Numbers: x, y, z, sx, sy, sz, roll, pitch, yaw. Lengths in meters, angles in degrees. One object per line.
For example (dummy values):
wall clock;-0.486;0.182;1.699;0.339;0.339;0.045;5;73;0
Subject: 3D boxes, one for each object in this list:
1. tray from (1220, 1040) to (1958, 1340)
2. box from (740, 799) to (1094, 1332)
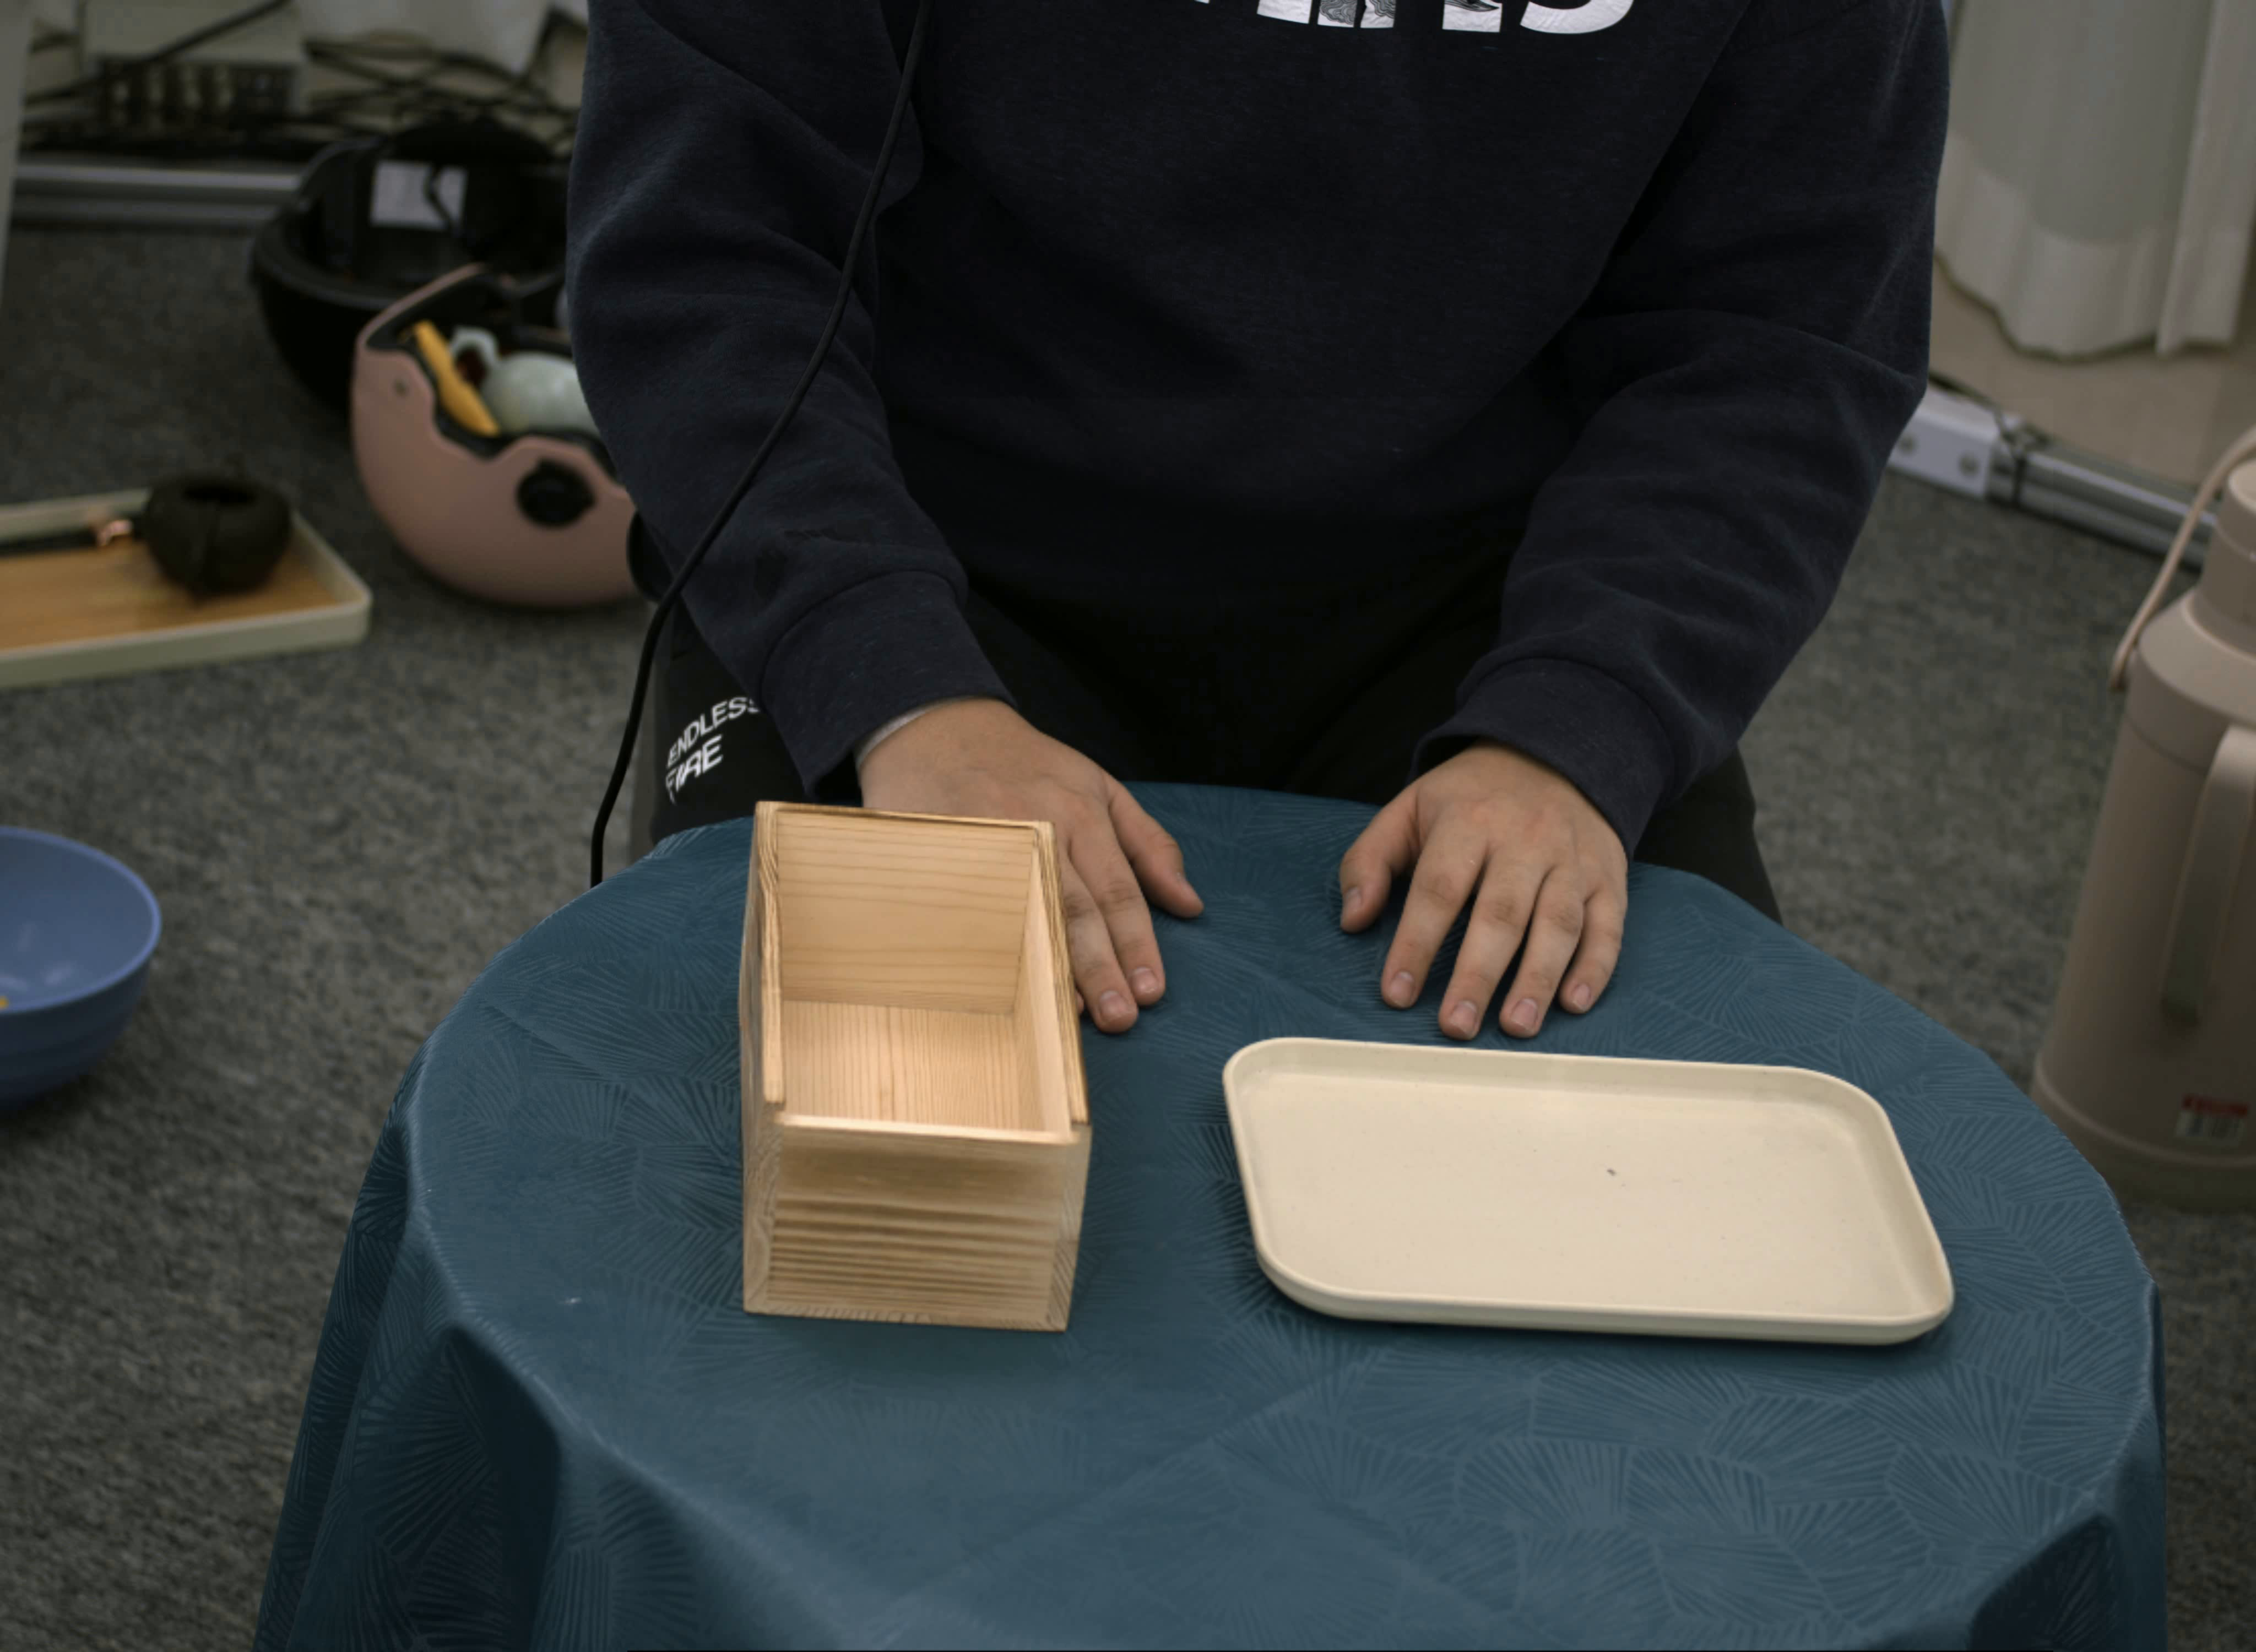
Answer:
tray;0.154;0.126;1.820;0.238;0.017;0.172;3;26;-7
box;-0.074;0.077;1.792;0.107;0.080;0.213;4;27;-7
